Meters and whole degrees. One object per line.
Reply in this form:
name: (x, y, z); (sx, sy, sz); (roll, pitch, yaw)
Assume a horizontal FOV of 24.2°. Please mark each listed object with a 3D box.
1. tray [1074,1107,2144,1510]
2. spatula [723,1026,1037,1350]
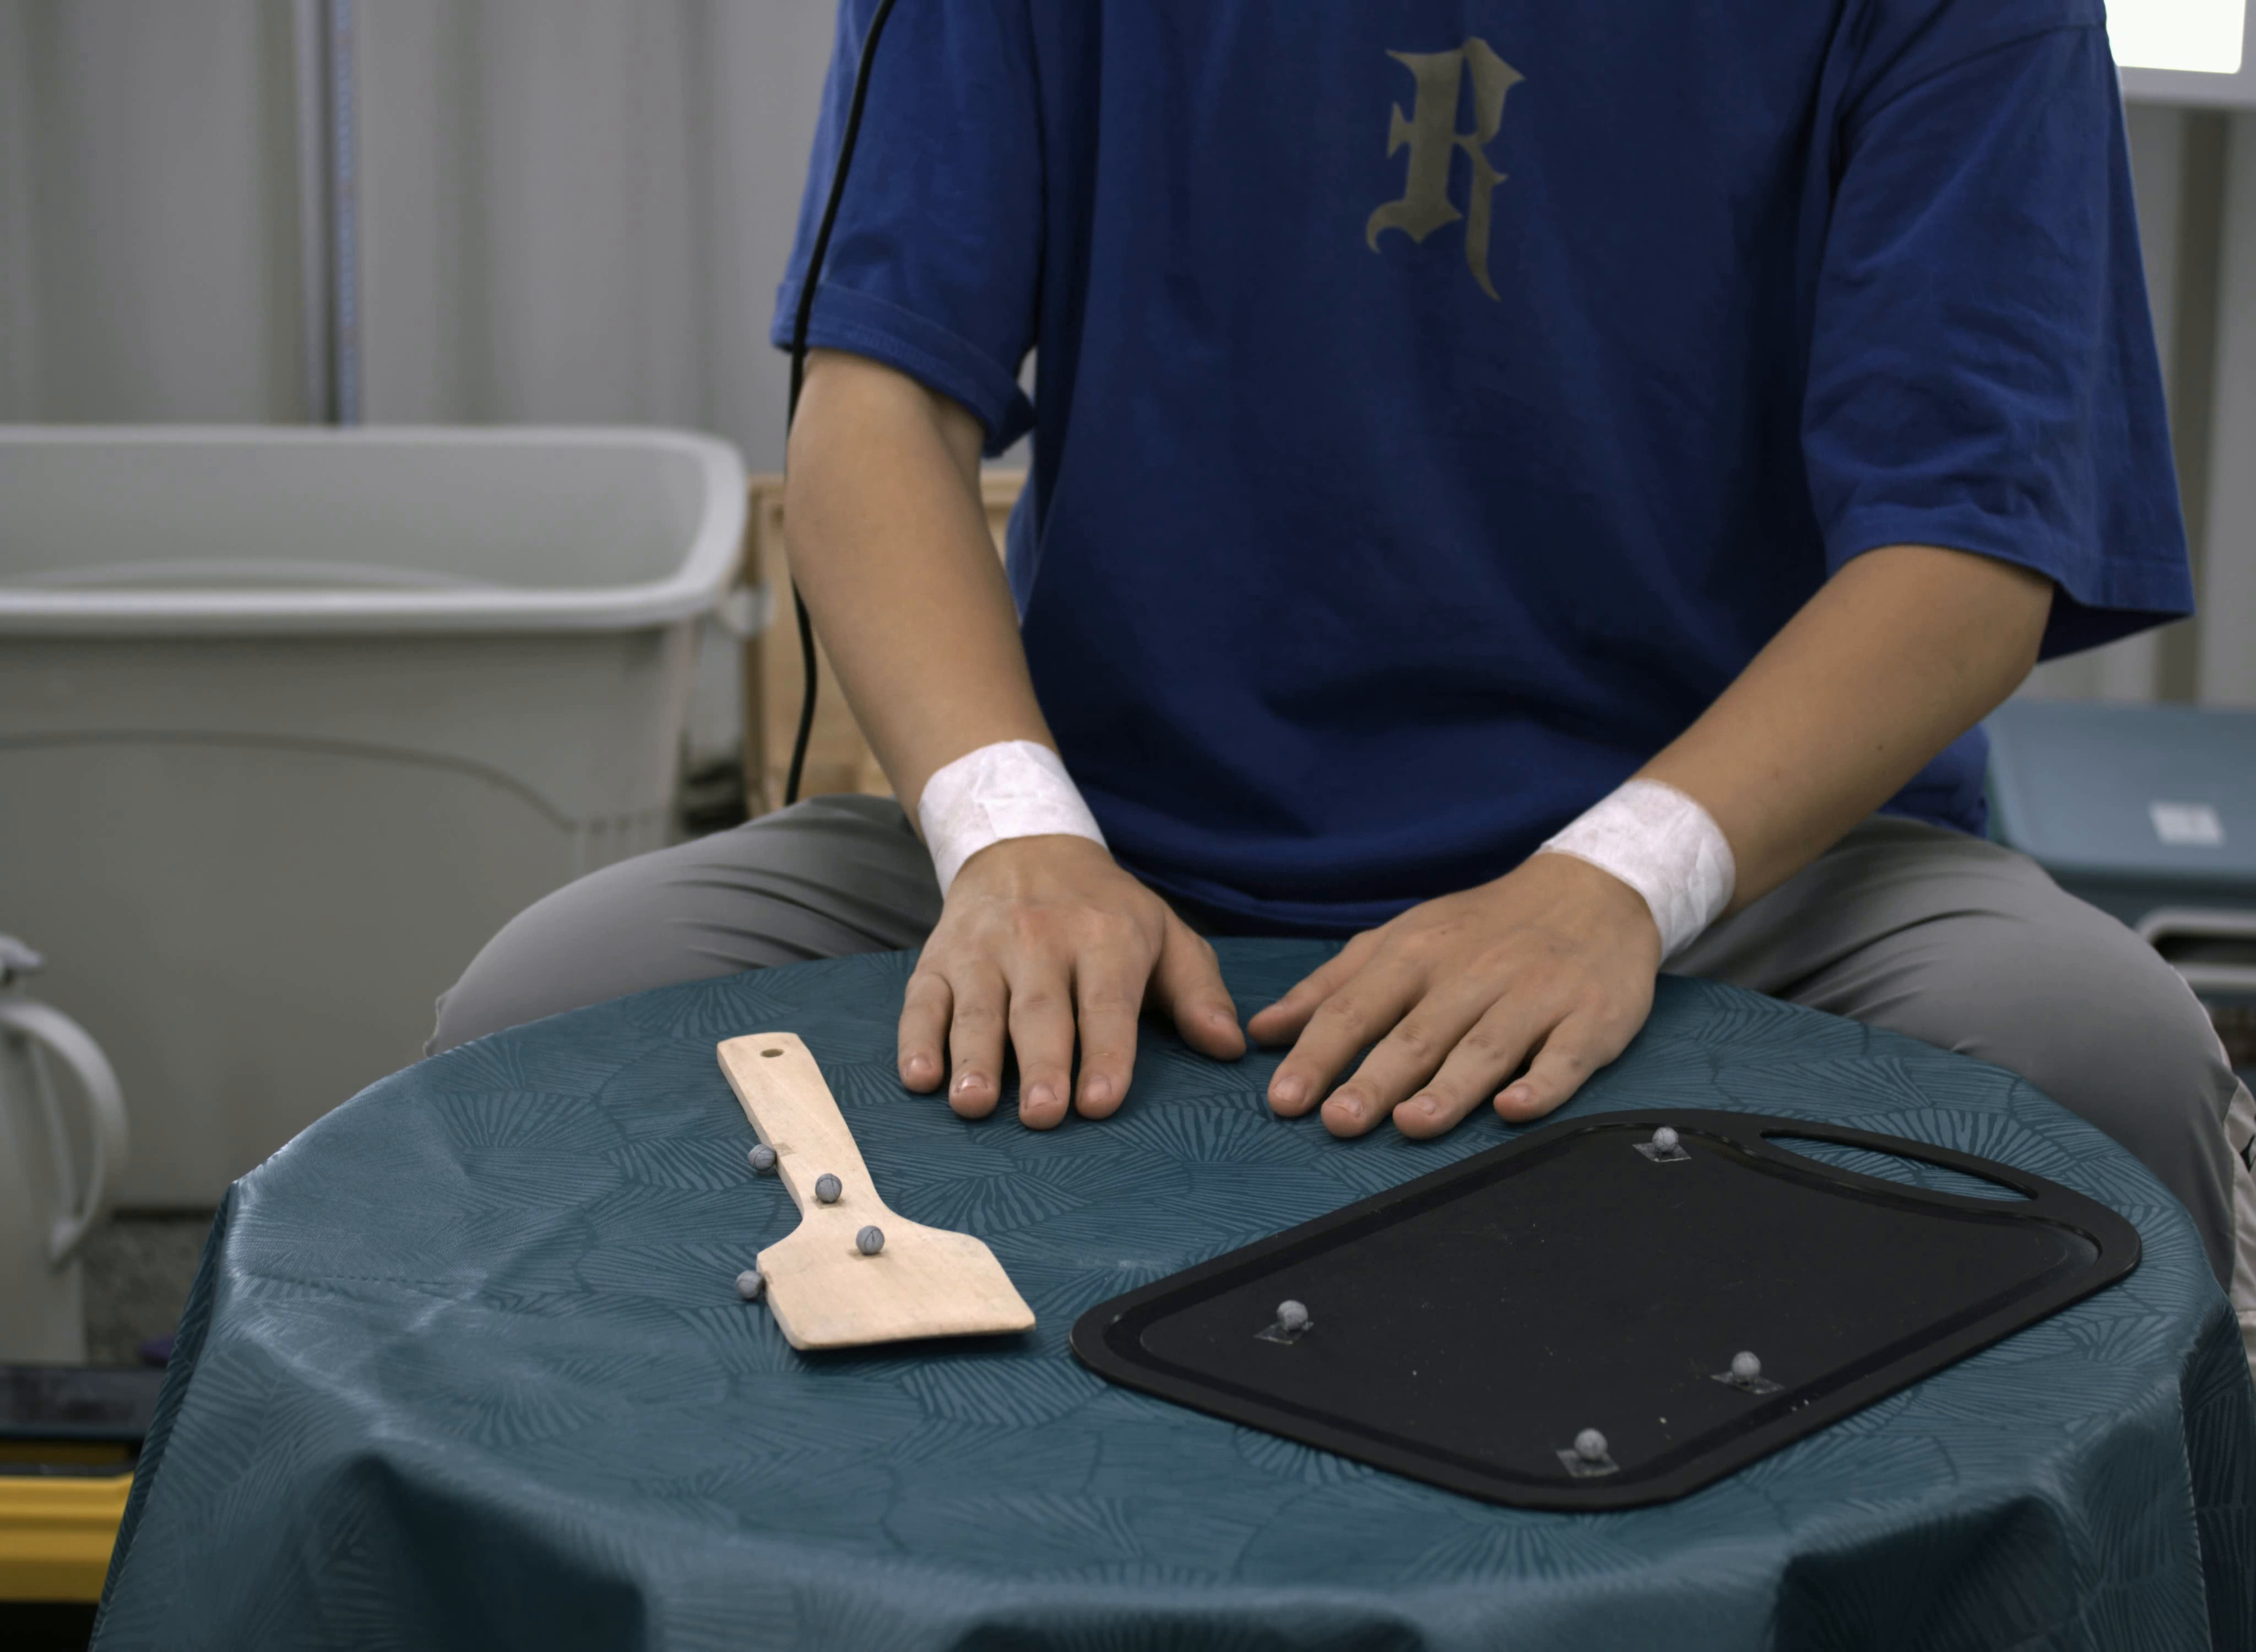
tray: (0.149, 0.132, 1.544); (0.208, 0.010, 0.327); (14, 20, 39)
spatula: (-0.092, 0.108, 1.617); (0.072, 0.011, 0.290); (-4, 16, -12)
